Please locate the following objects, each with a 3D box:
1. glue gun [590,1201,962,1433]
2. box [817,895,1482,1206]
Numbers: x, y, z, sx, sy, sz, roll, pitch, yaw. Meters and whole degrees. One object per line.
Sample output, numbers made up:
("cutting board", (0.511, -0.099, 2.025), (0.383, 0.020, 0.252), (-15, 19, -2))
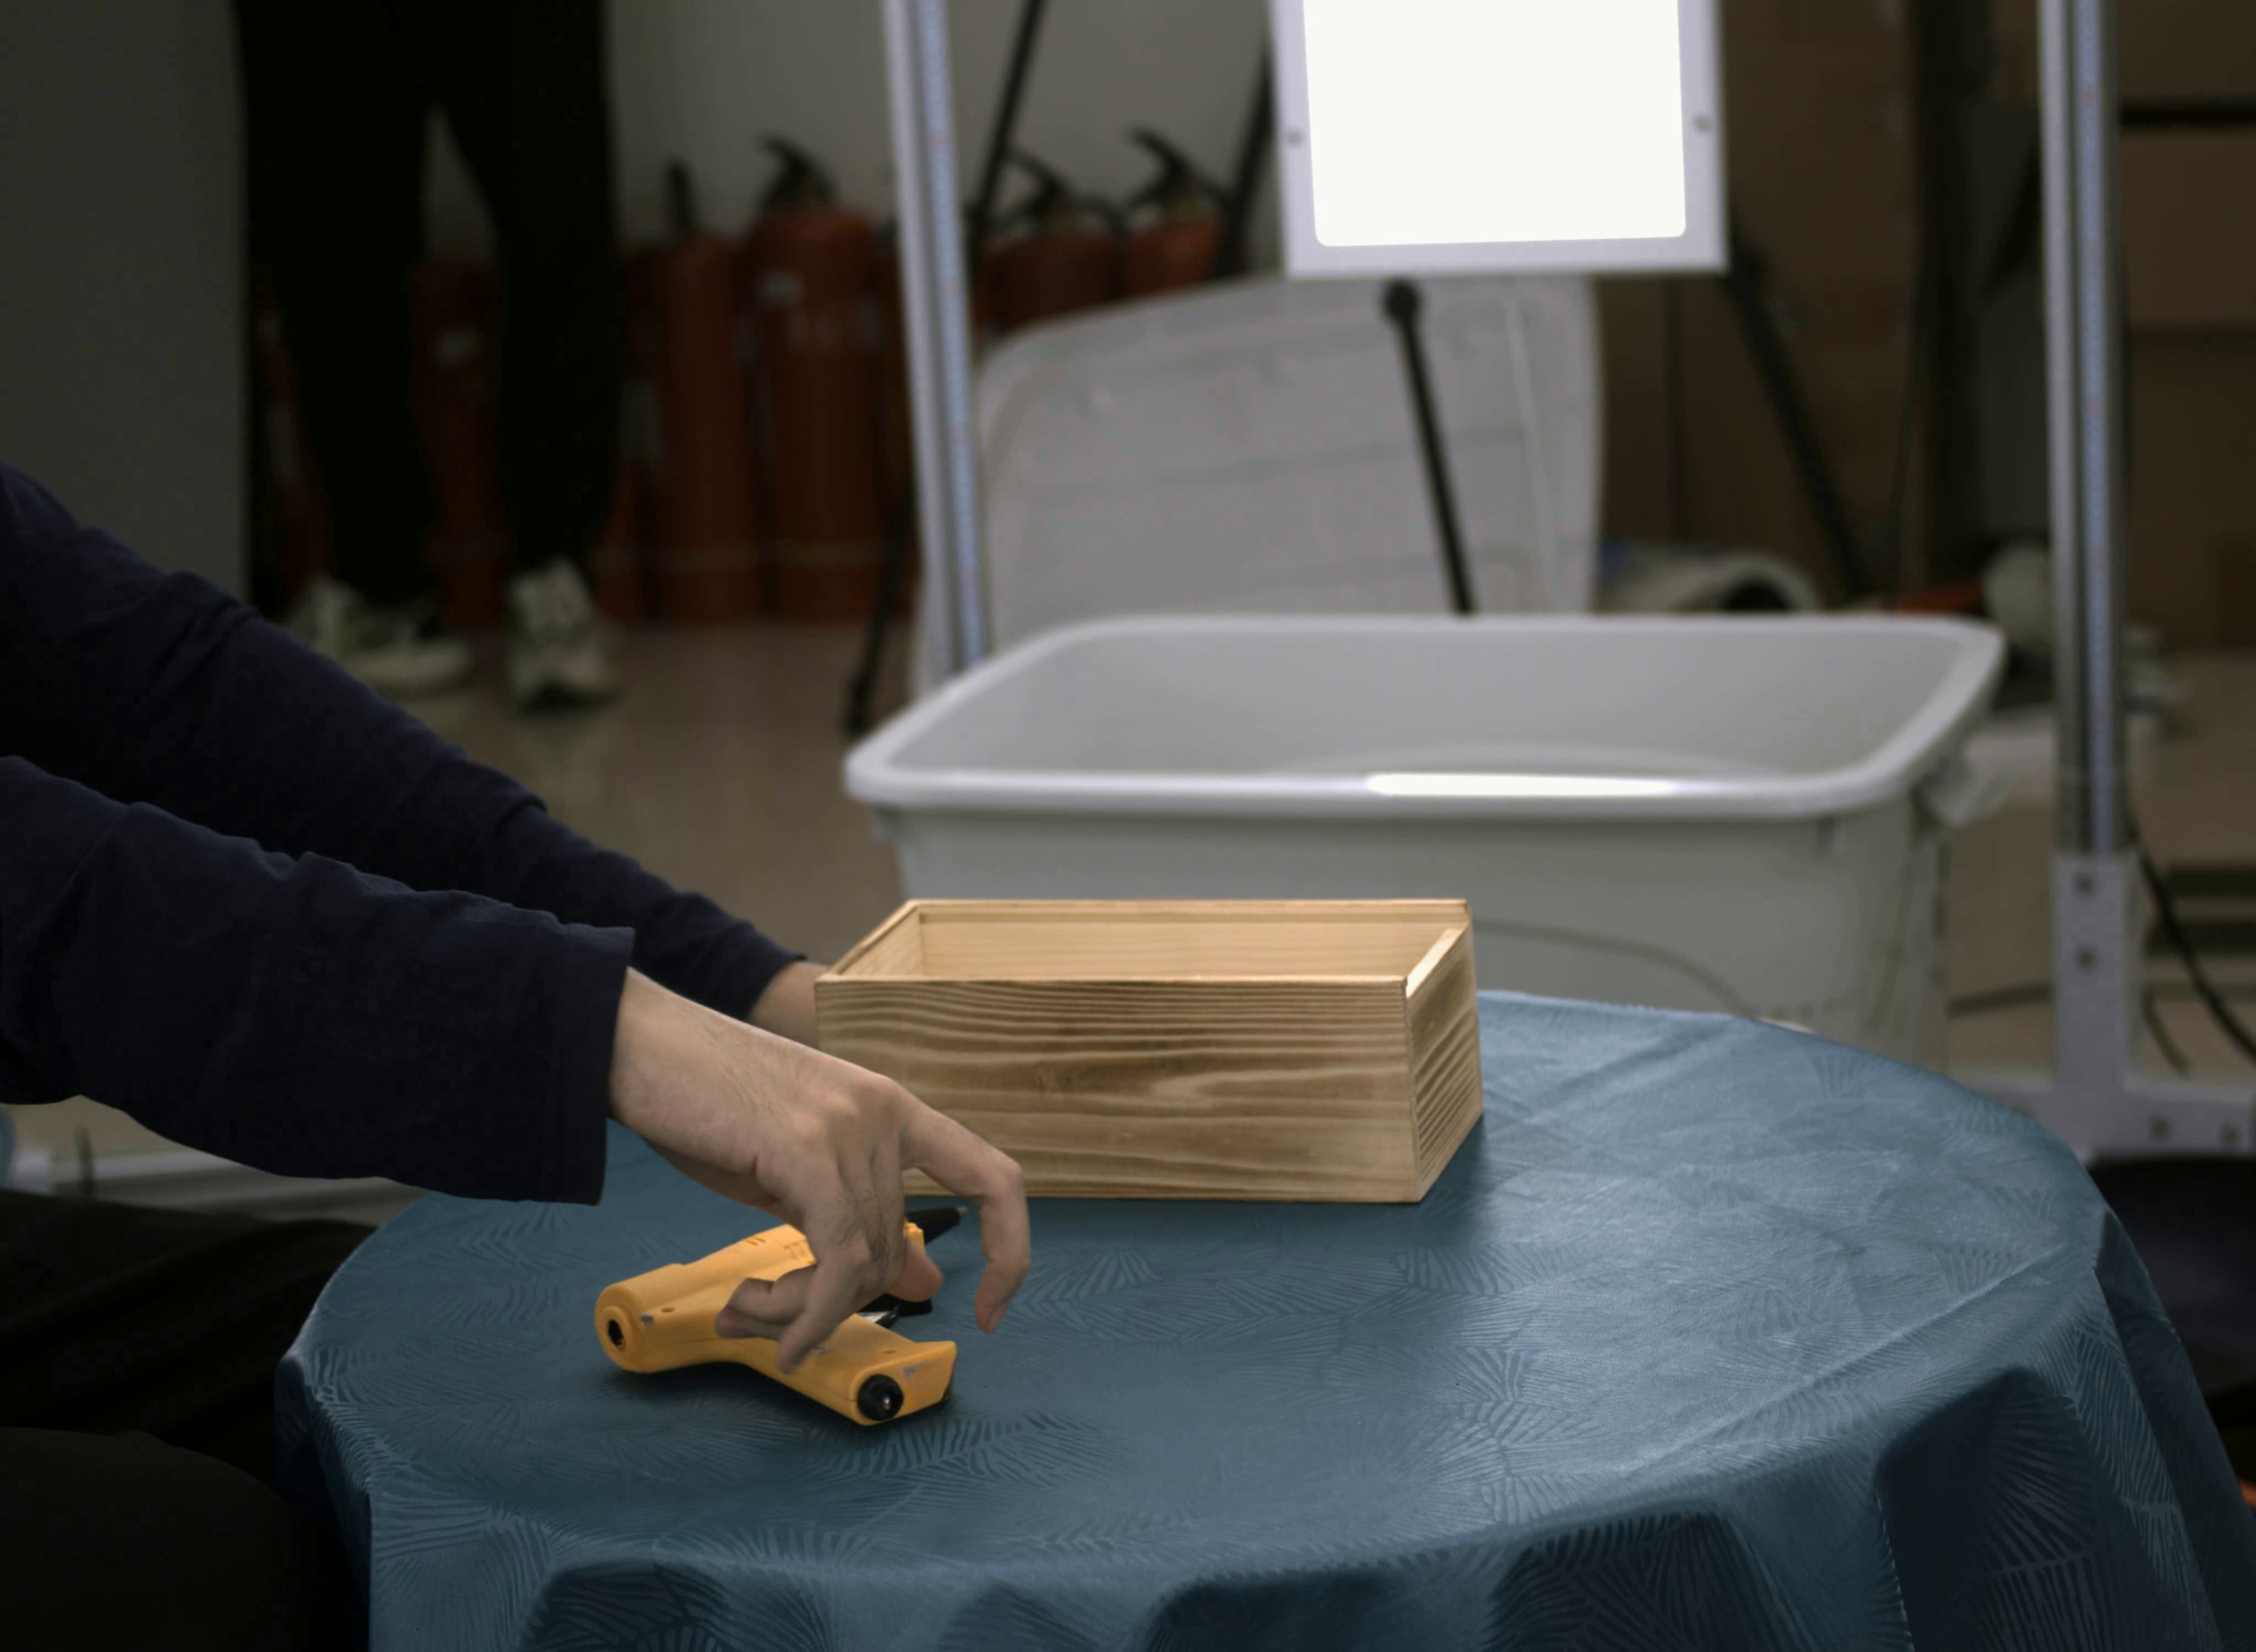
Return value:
("glue gun", (-0.076, 0.153, 1.768), (0.136, 0.031, 0.147), (10, 21, 42))
("box", (0.009, 0.077, 1.931), (0.214, 0.080, 0.106), (0, 15, 19))
